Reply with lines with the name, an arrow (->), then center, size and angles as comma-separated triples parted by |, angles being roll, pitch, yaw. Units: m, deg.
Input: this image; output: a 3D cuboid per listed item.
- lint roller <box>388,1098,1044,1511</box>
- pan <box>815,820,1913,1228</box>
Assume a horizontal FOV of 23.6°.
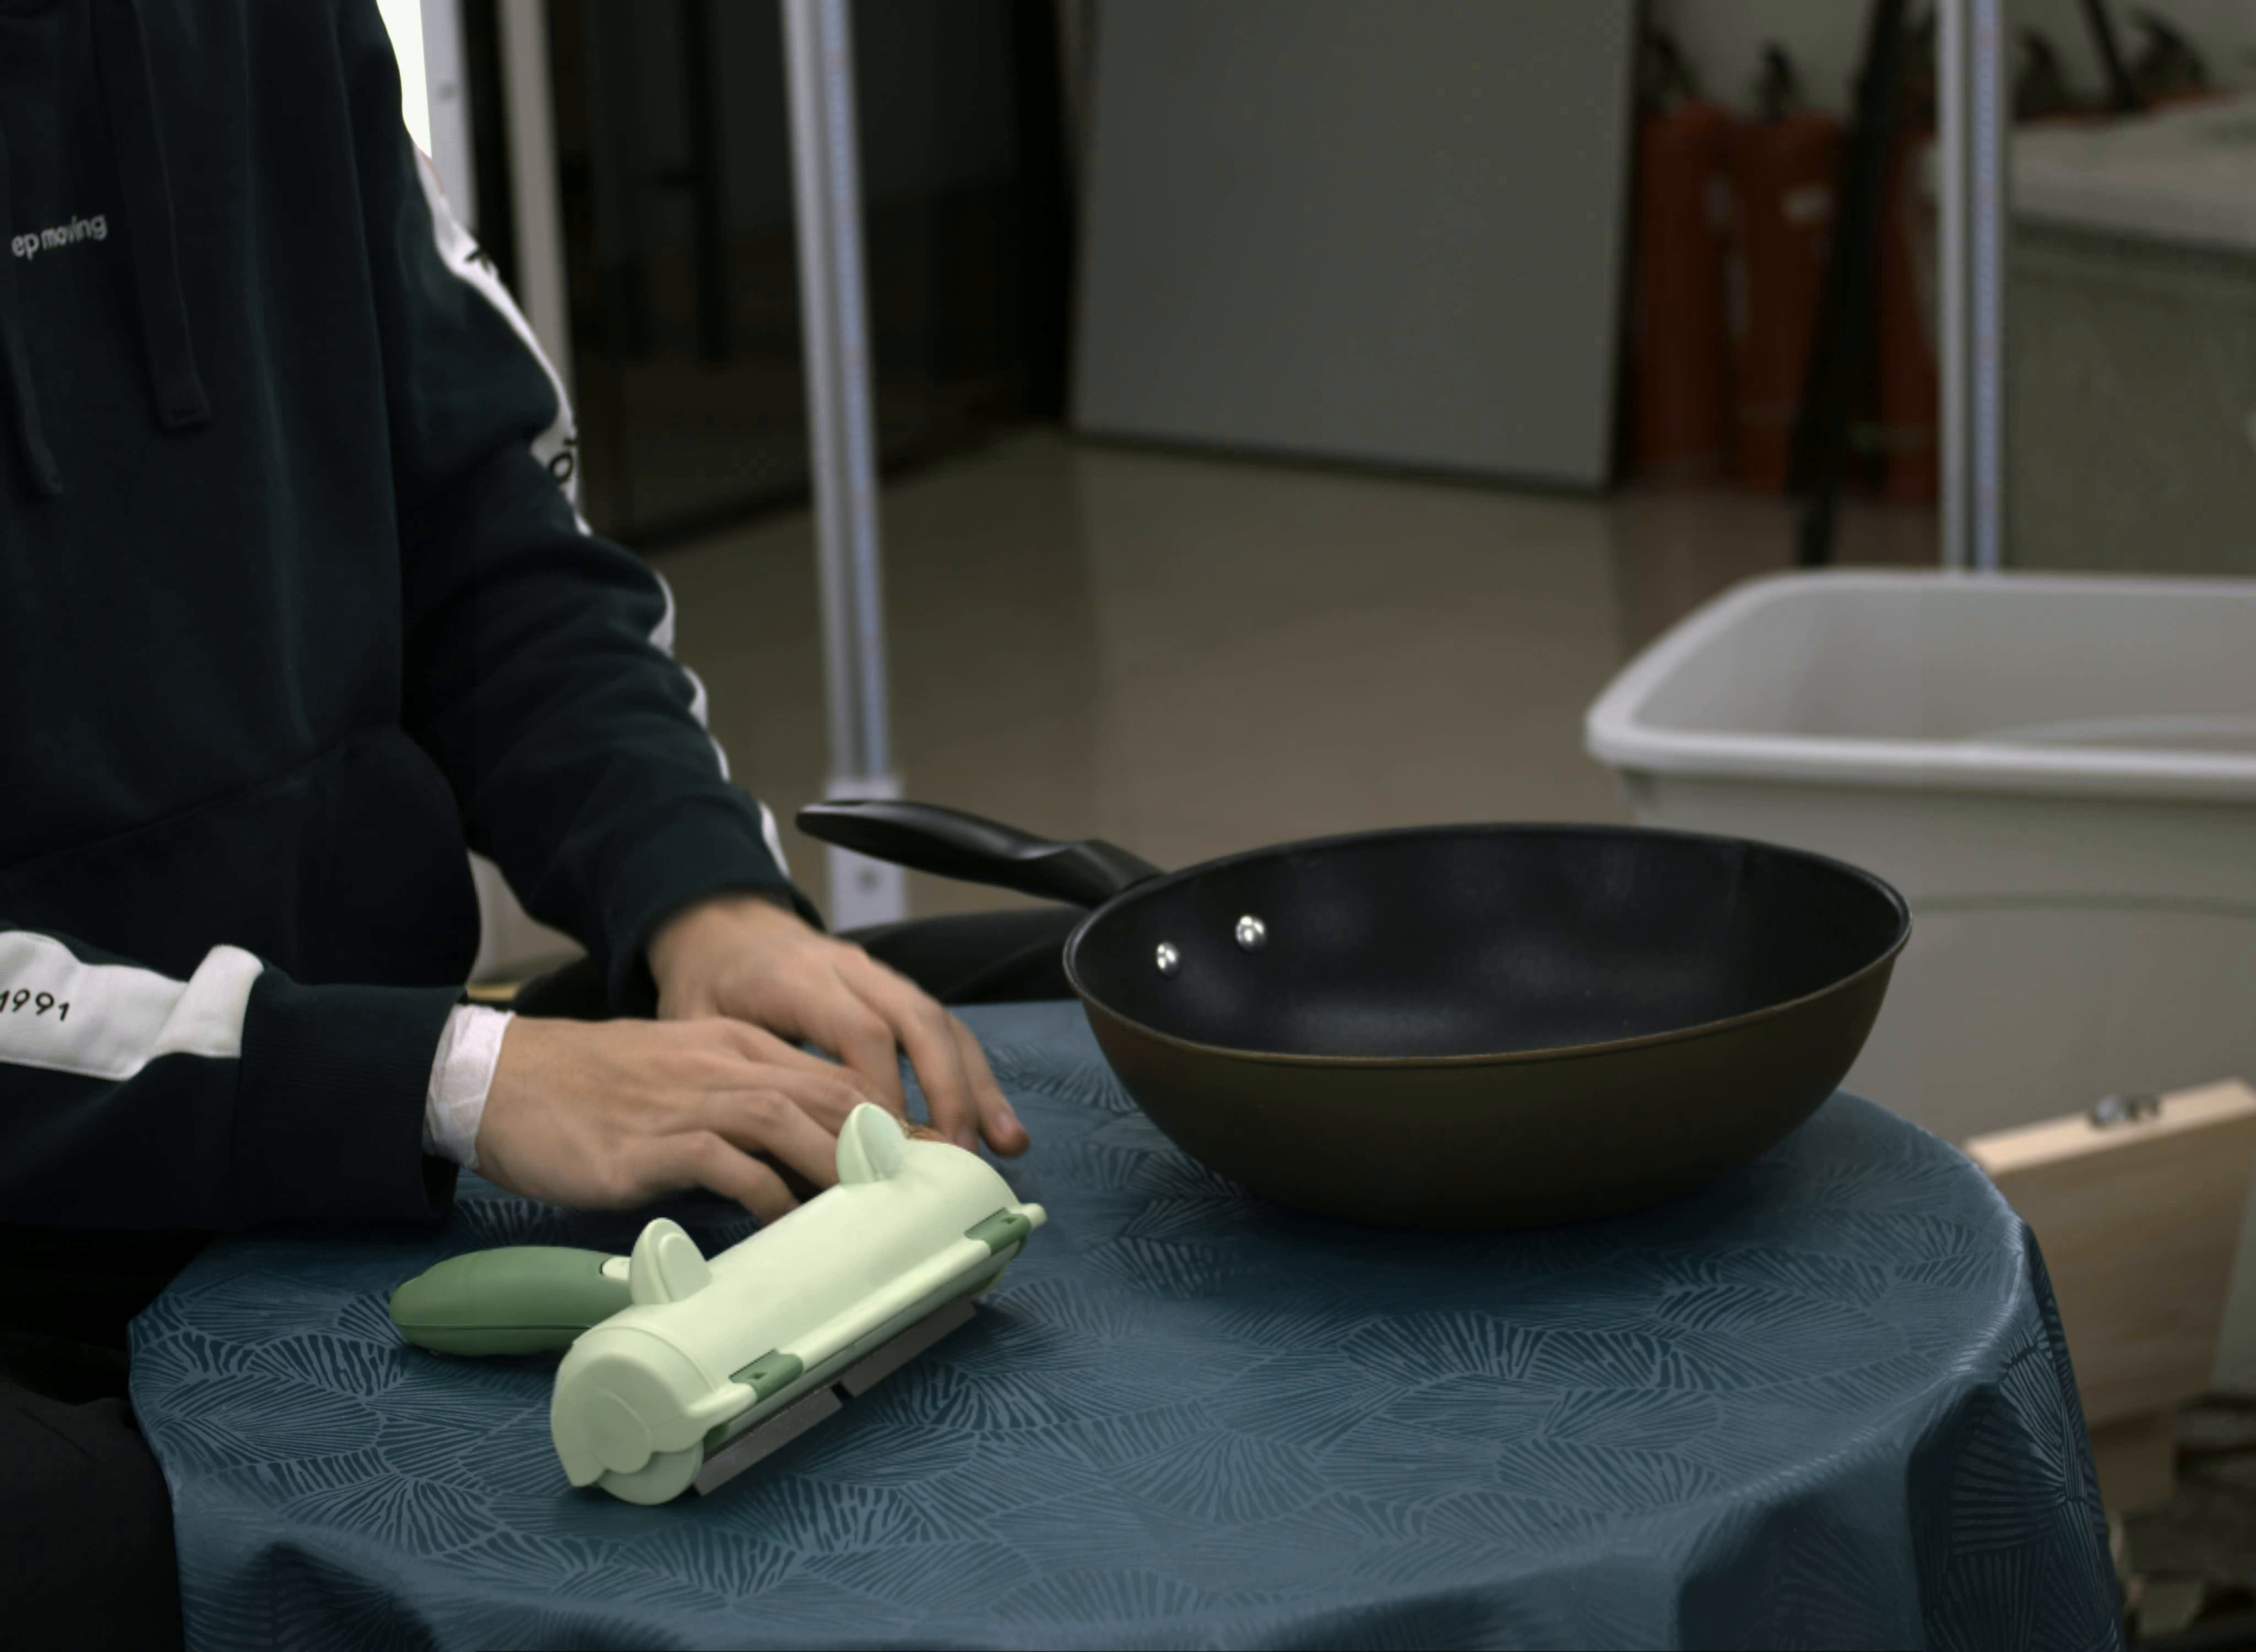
lint roller -> -0.146, 0.130, 1.620 | 0.184, 0.083, 0.196 | 10, 19, 28
pan -> 0.053, 0.061, 1.827 | 0.467, 0.088, 0.282 | 8, 17, 44
